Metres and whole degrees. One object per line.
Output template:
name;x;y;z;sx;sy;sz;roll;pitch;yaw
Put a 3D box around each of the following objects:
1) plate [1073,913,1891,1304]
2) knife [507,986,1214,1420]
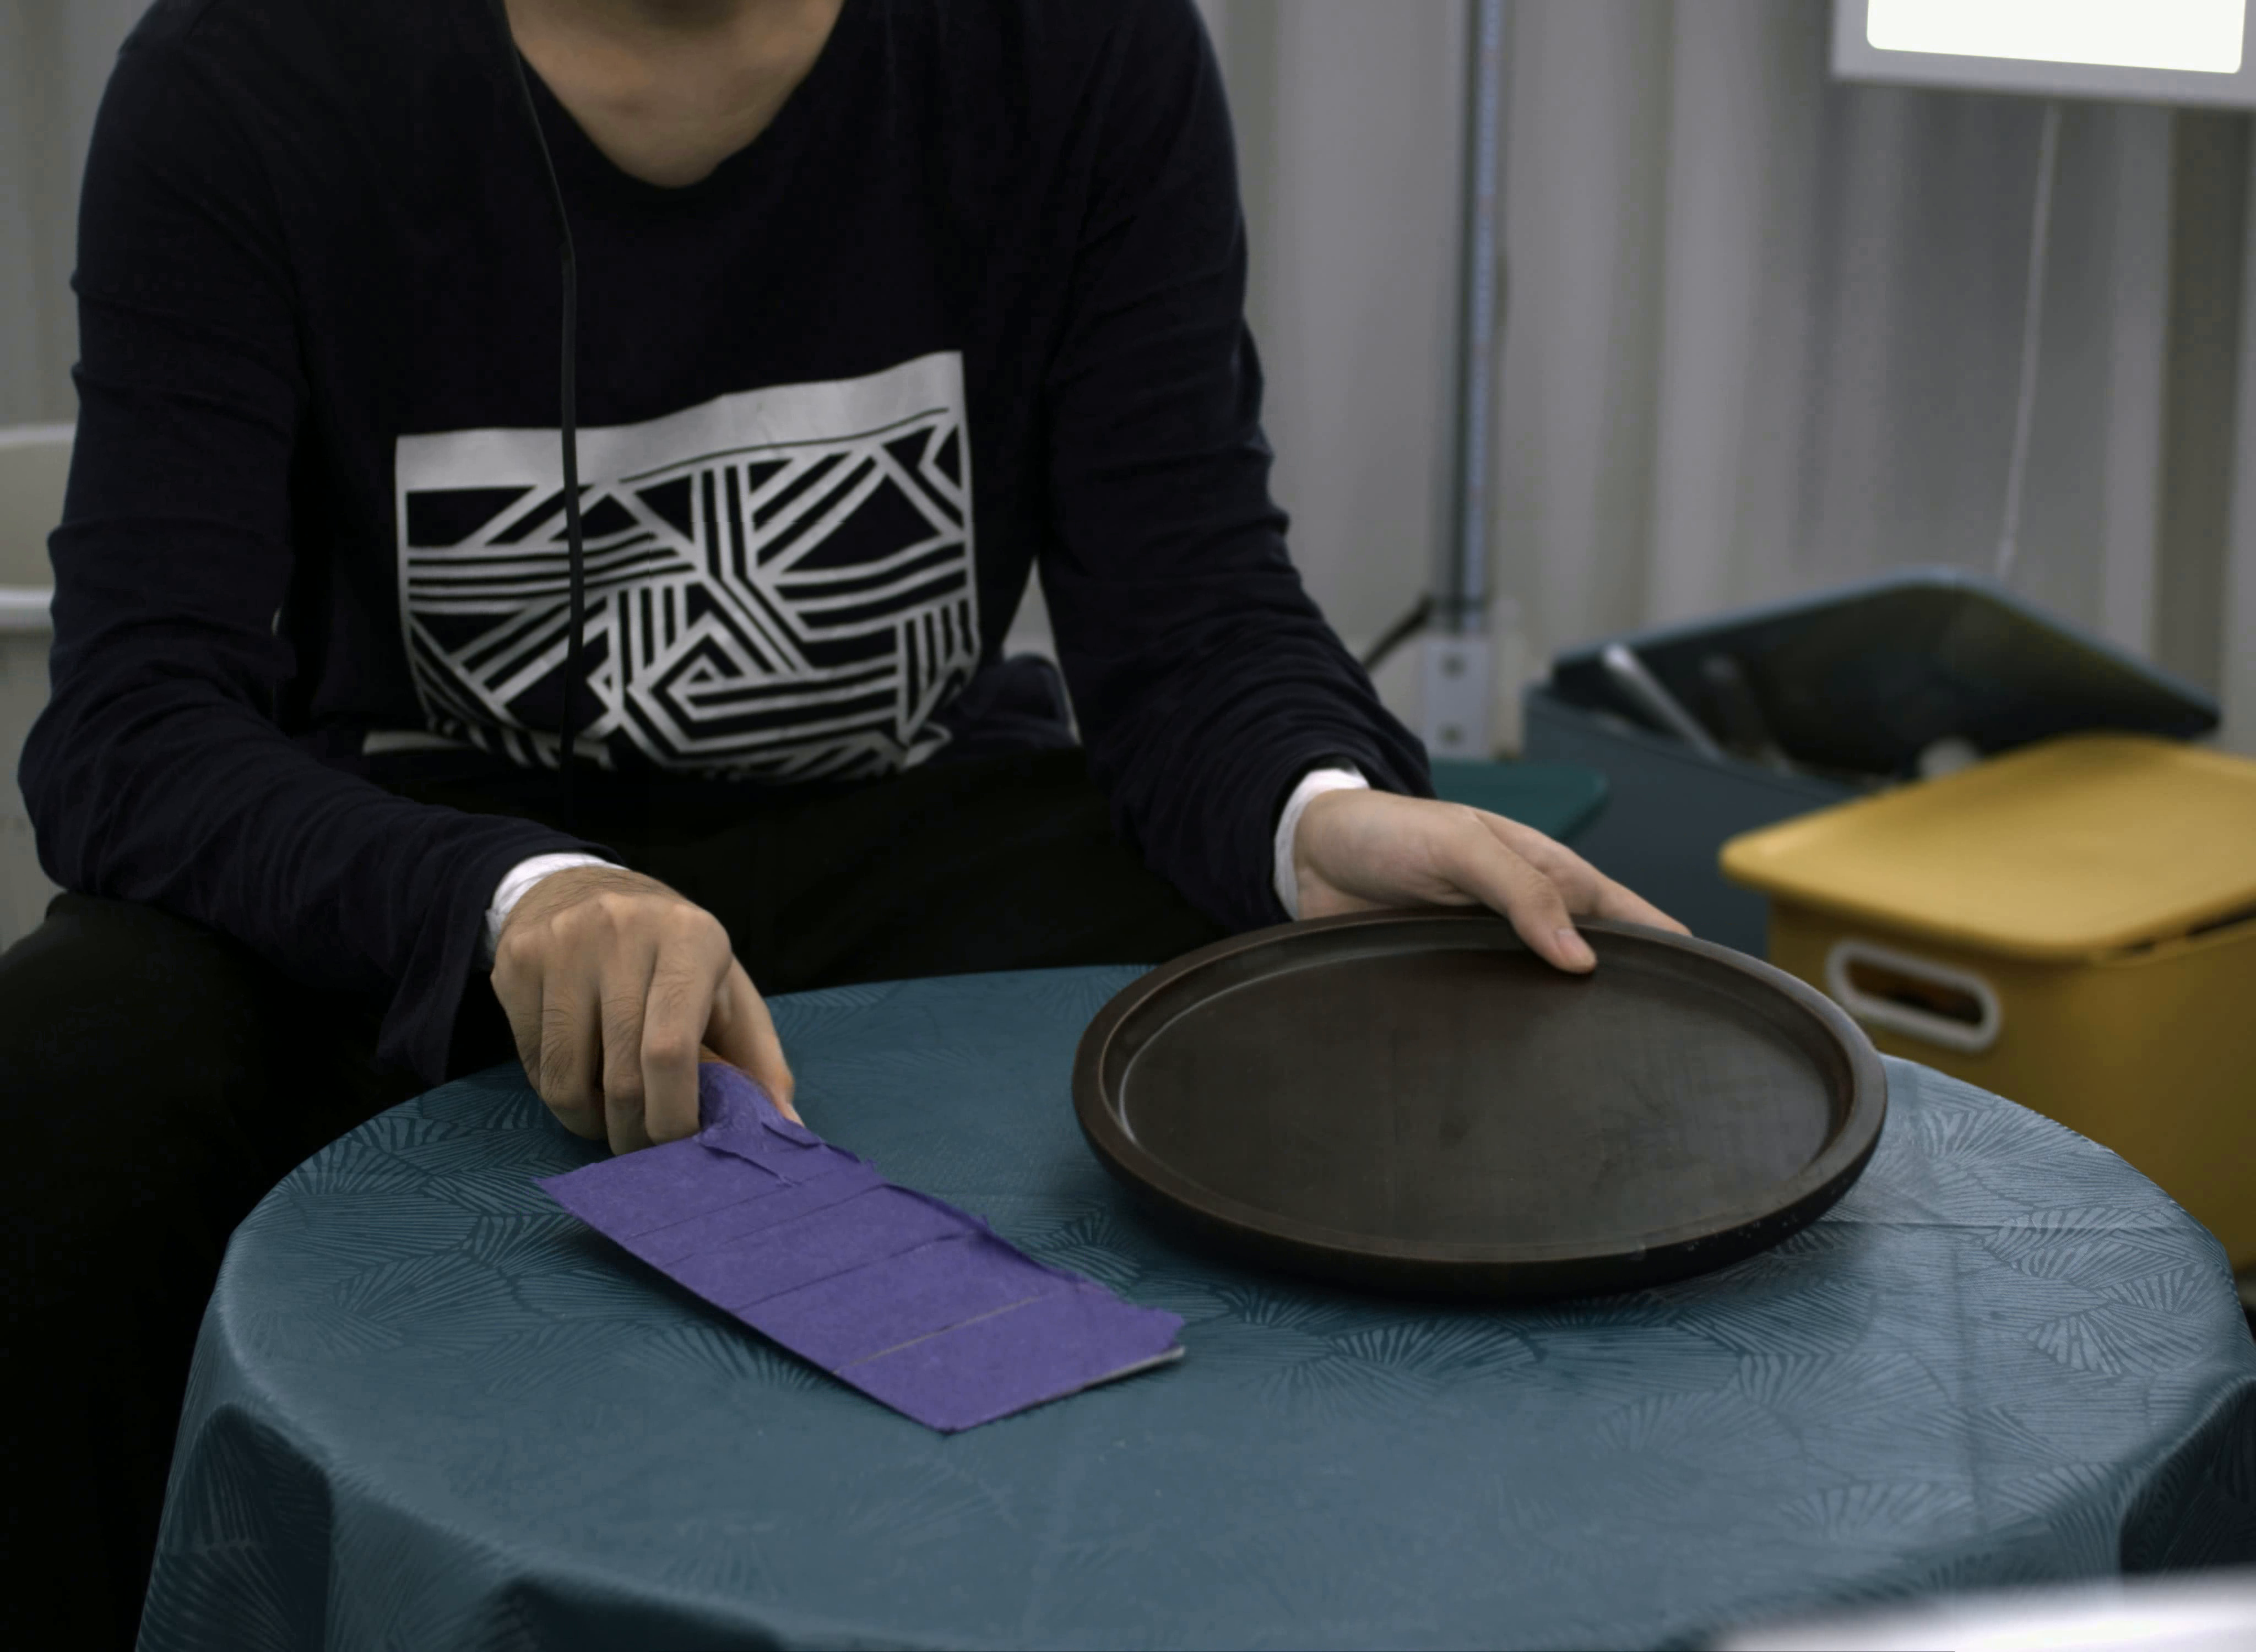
plate;0.109;0.084;1.630;0.254;0.029;0.253;2;24;0
knife;-0.112;0.108;1.564;0.104;0.032;0.311;-16;24;-37
